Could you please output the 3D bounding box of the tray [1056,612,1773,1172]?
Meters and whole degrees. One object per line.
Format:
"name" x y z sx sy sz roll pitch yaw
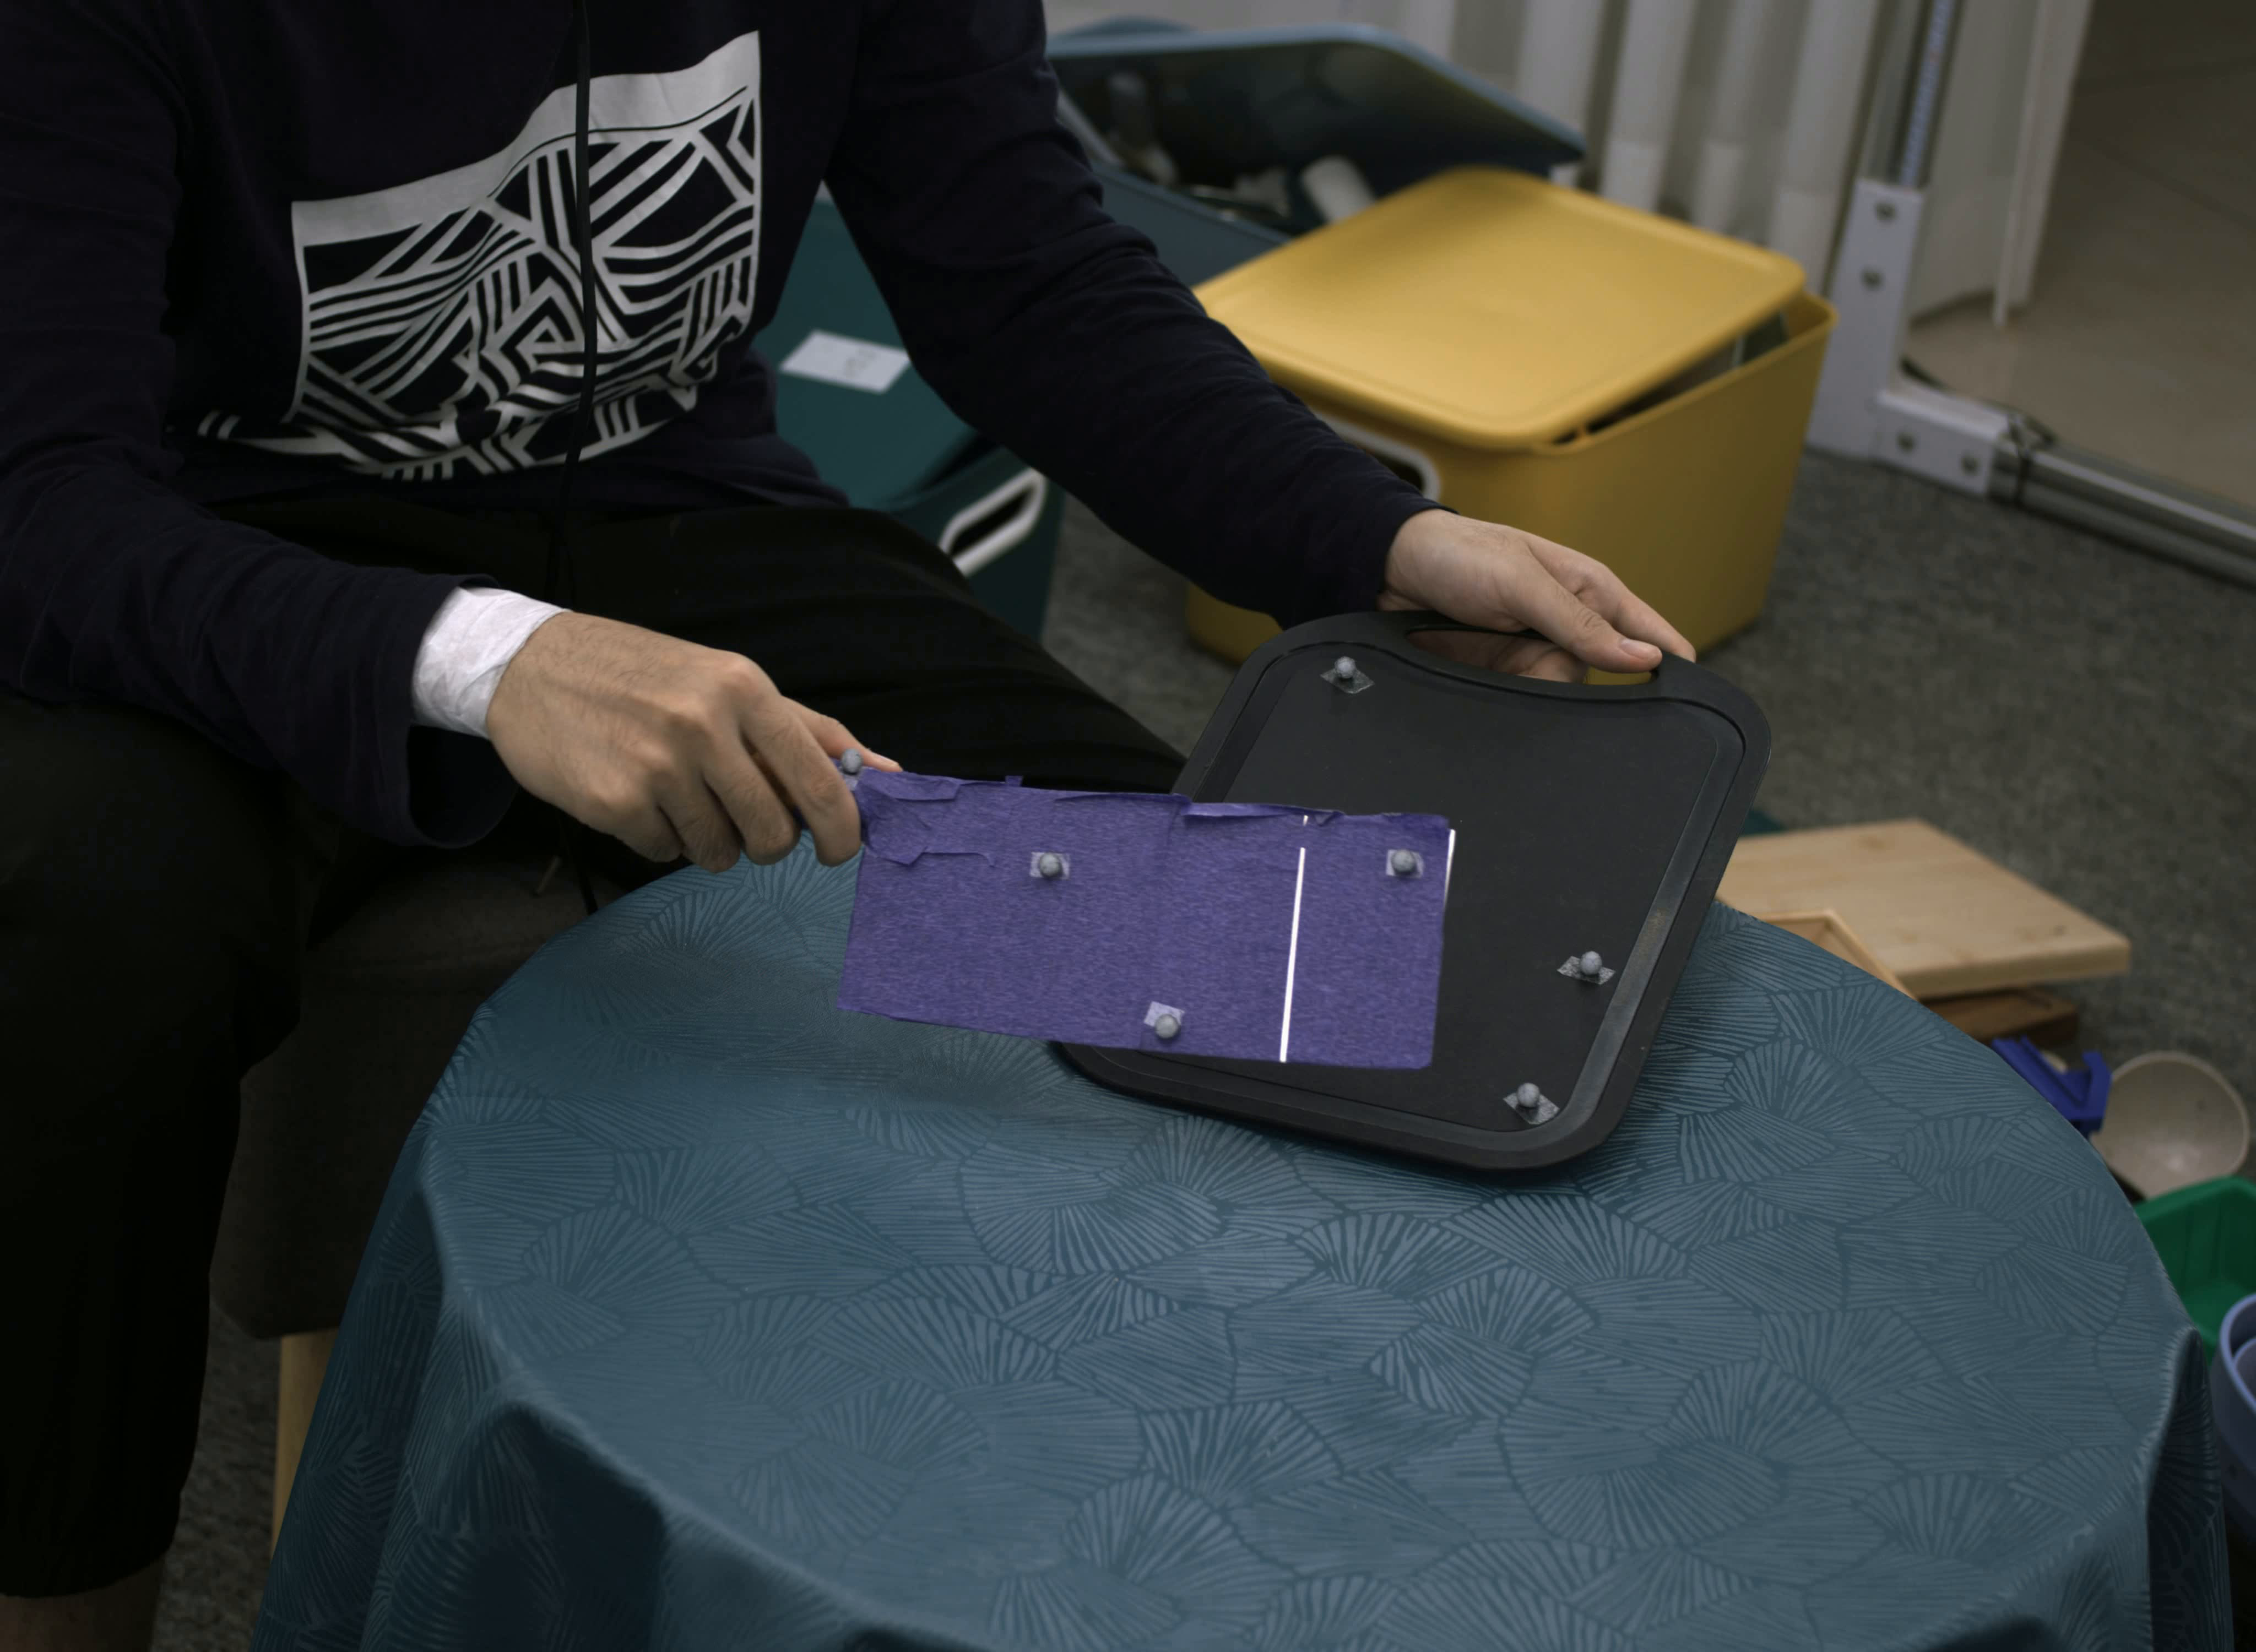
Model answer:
"tray" 0.112 0.012 1.967 0.211 0.010 0.326 11 38 16

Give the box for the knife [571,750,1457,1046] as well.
"knife" -0.045 0.024 1.838 0.315 0.032 0.104 3 69 13
